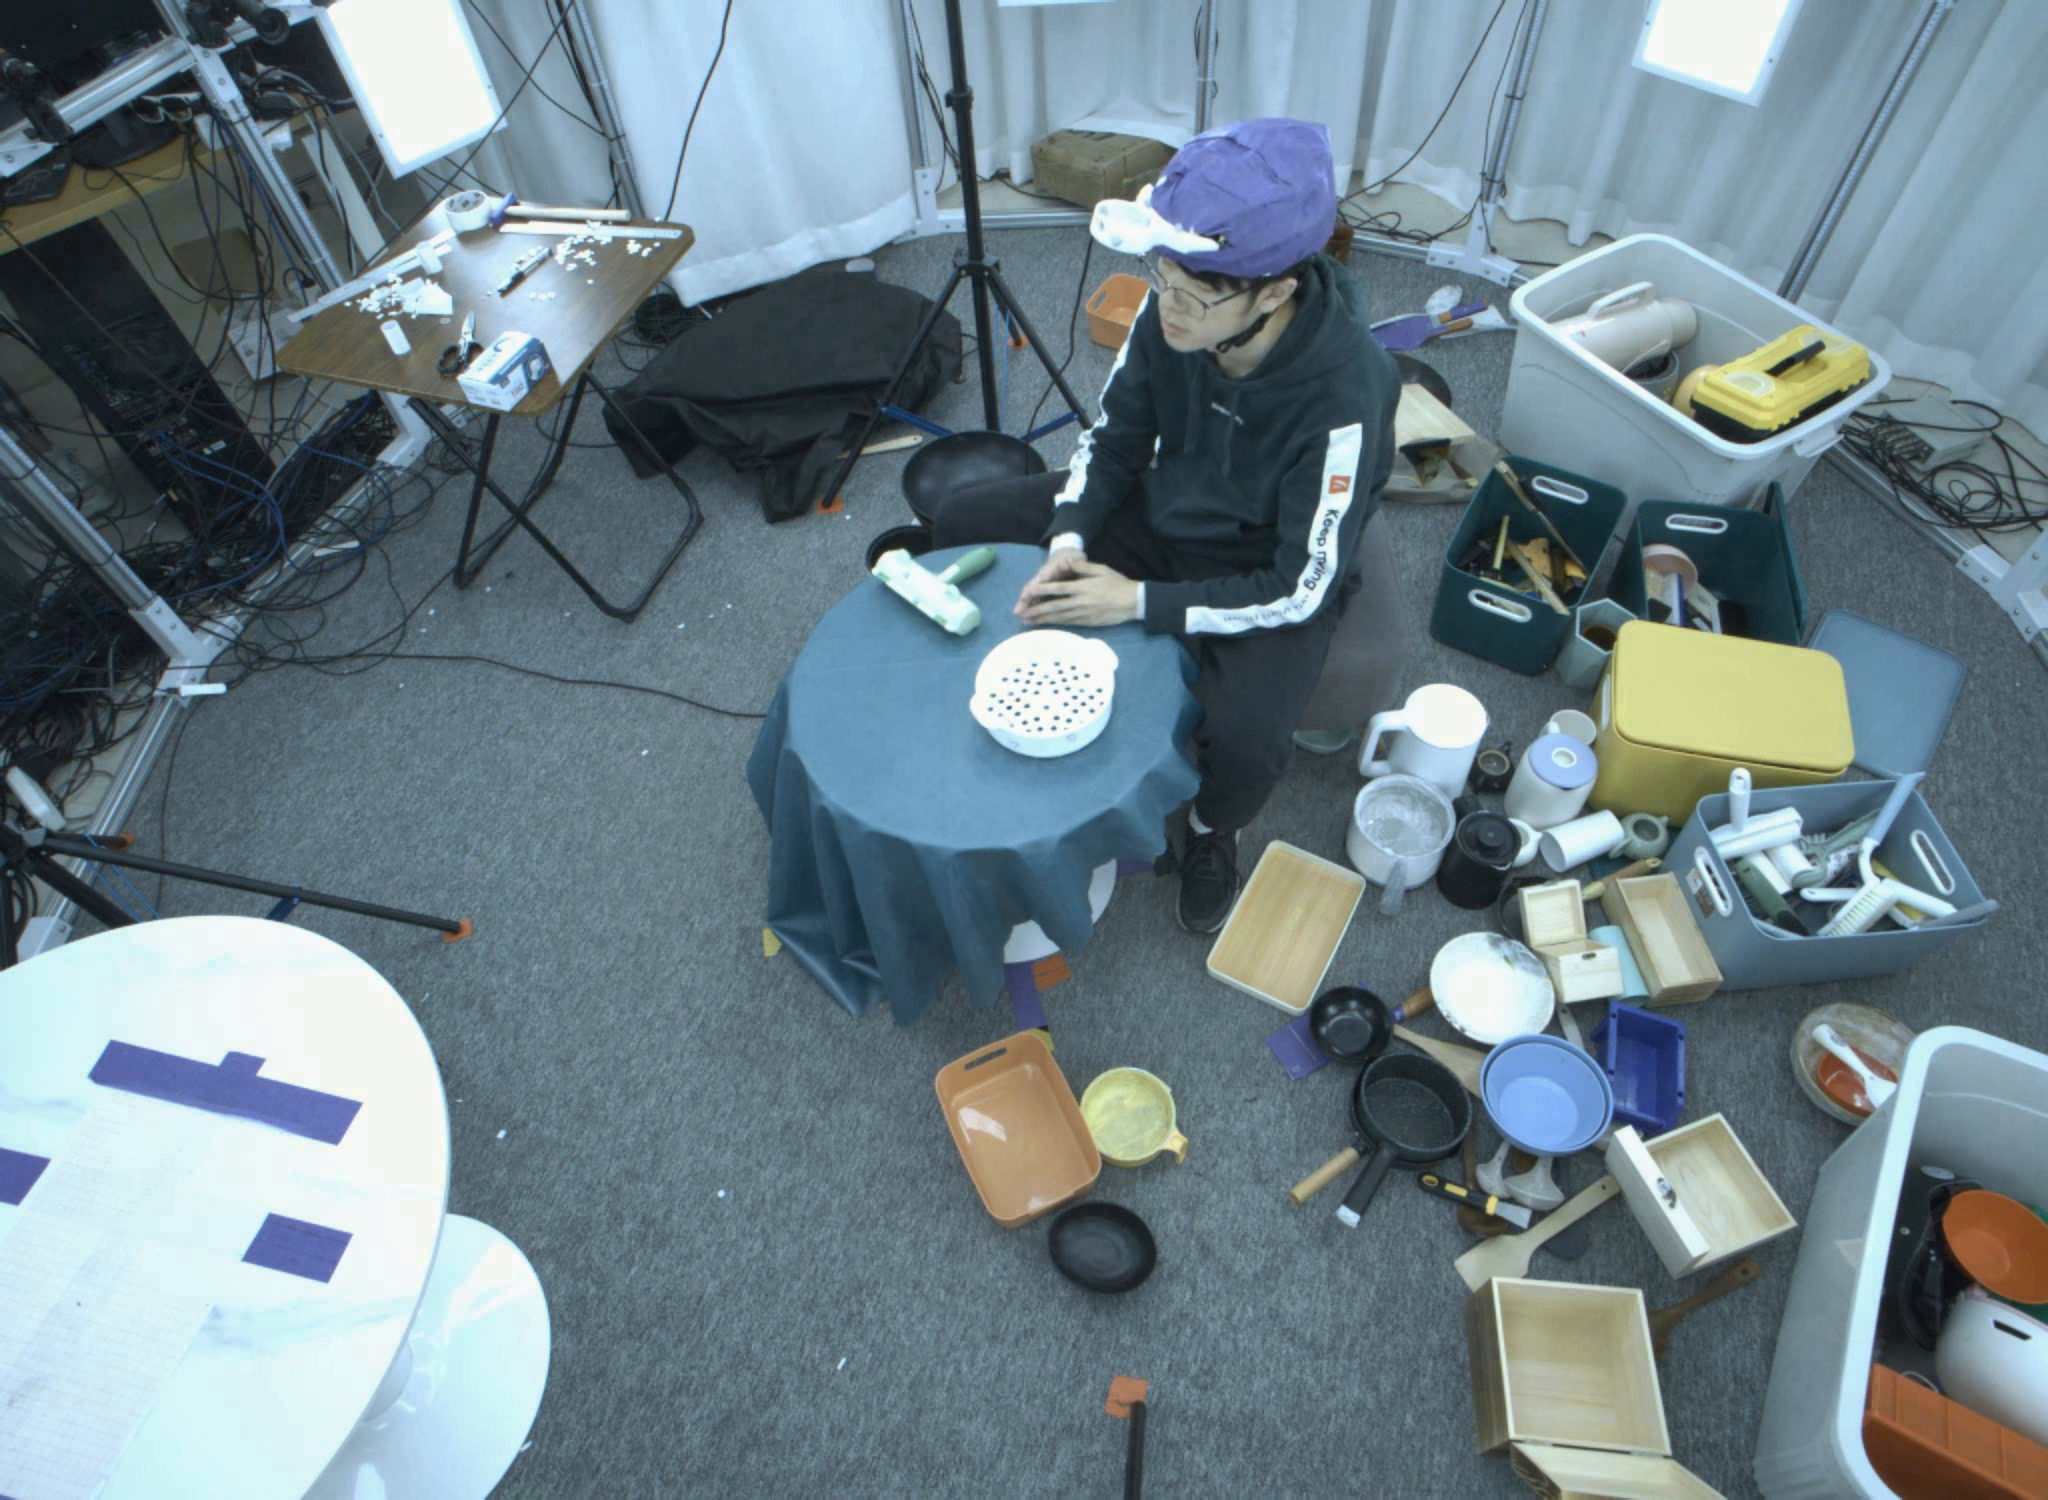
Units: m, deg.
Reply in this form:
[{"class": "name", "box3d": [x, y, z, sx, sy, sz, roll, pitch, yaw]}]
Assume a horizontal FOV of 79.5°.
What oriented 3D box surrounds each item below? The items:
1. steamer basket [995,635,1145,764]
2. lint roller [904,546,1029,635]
[{"class": "steamer basket", "box3d": [0.069, -0.072, 1.789, 0.232, 0.070, 0.198, -27, 57, -14]}, {"class": "lint roller", "box3d": [-0.065, -0.288, 1.942, 0.184, 0.083, 0.195, -41, 62, -19]}]
